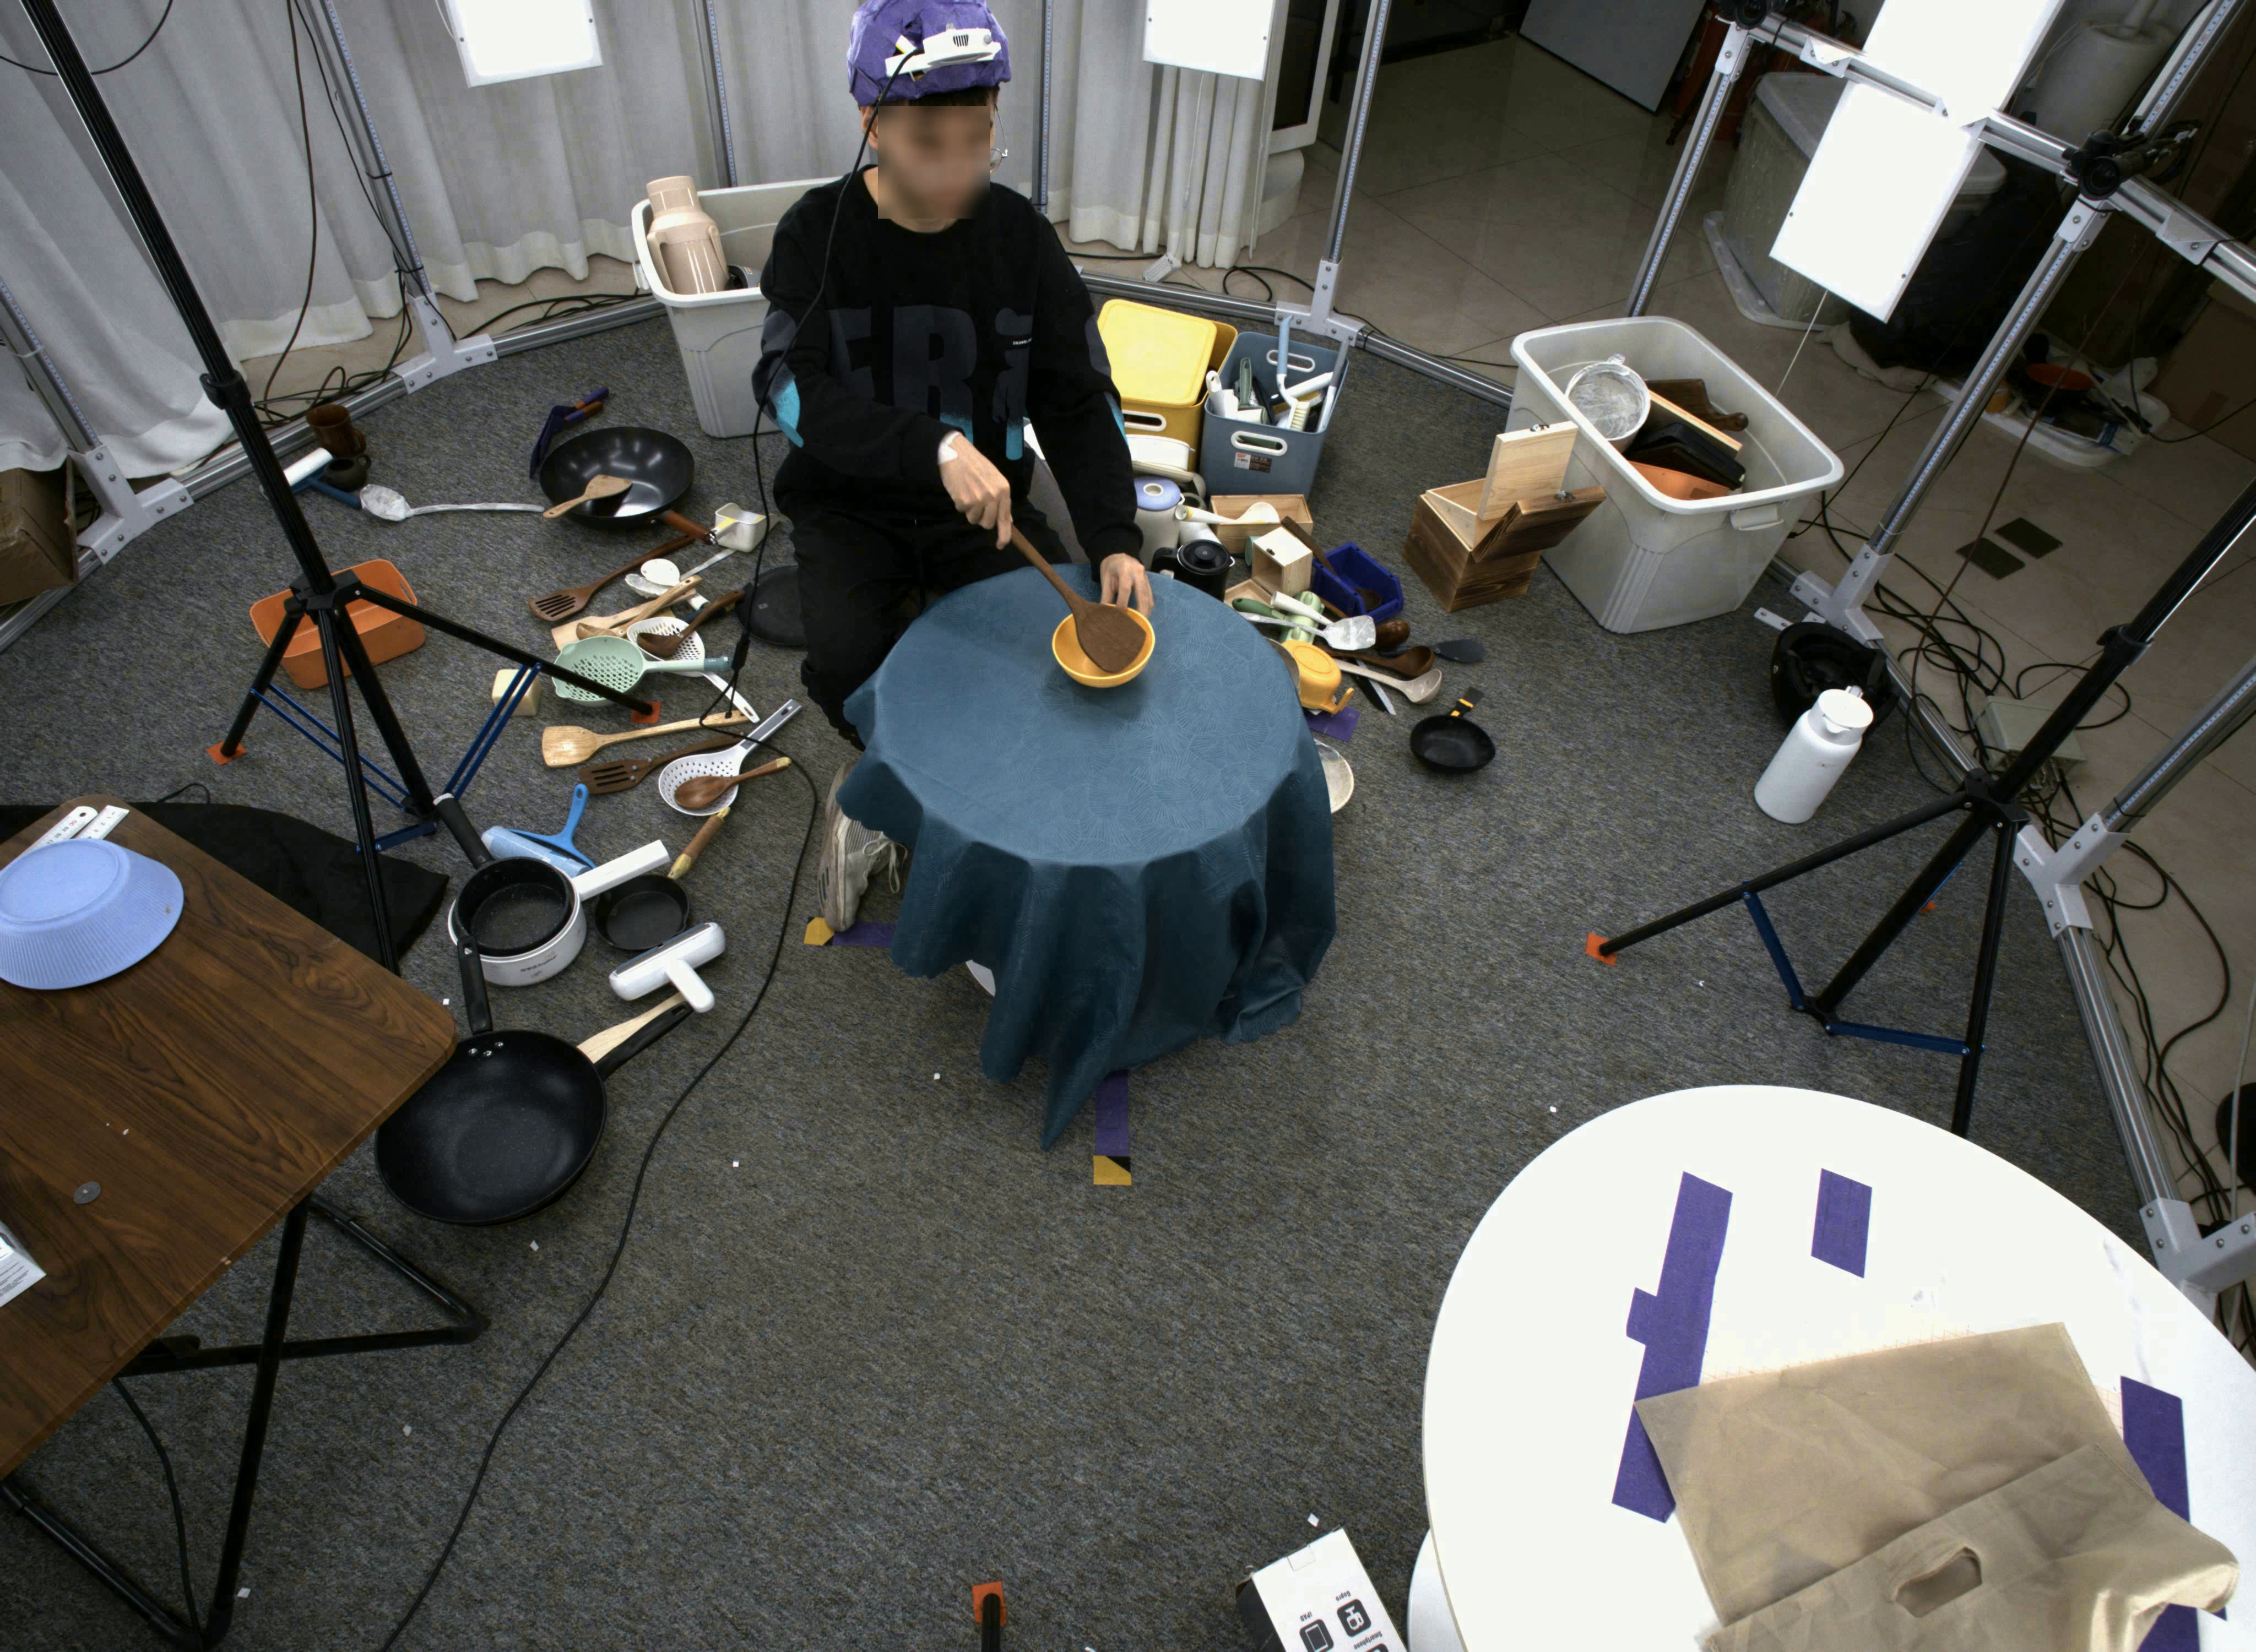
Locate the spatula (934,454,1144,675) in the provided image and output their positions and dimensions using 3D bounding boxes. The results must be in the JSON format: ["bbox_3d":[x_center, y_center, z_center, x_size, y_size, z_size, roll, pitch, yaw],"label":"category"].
[{"bbox_3d":[-0.127,-0.367,1.786,0.383,0.015,0.097,46,62,-10],"label":"spatula"}]

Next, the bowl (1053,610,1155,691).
[{"bbox_3d":[-0.033,-0.242,1.852,0.145,0.058,0.149,-1,51,1],"label":"bowl"}]
